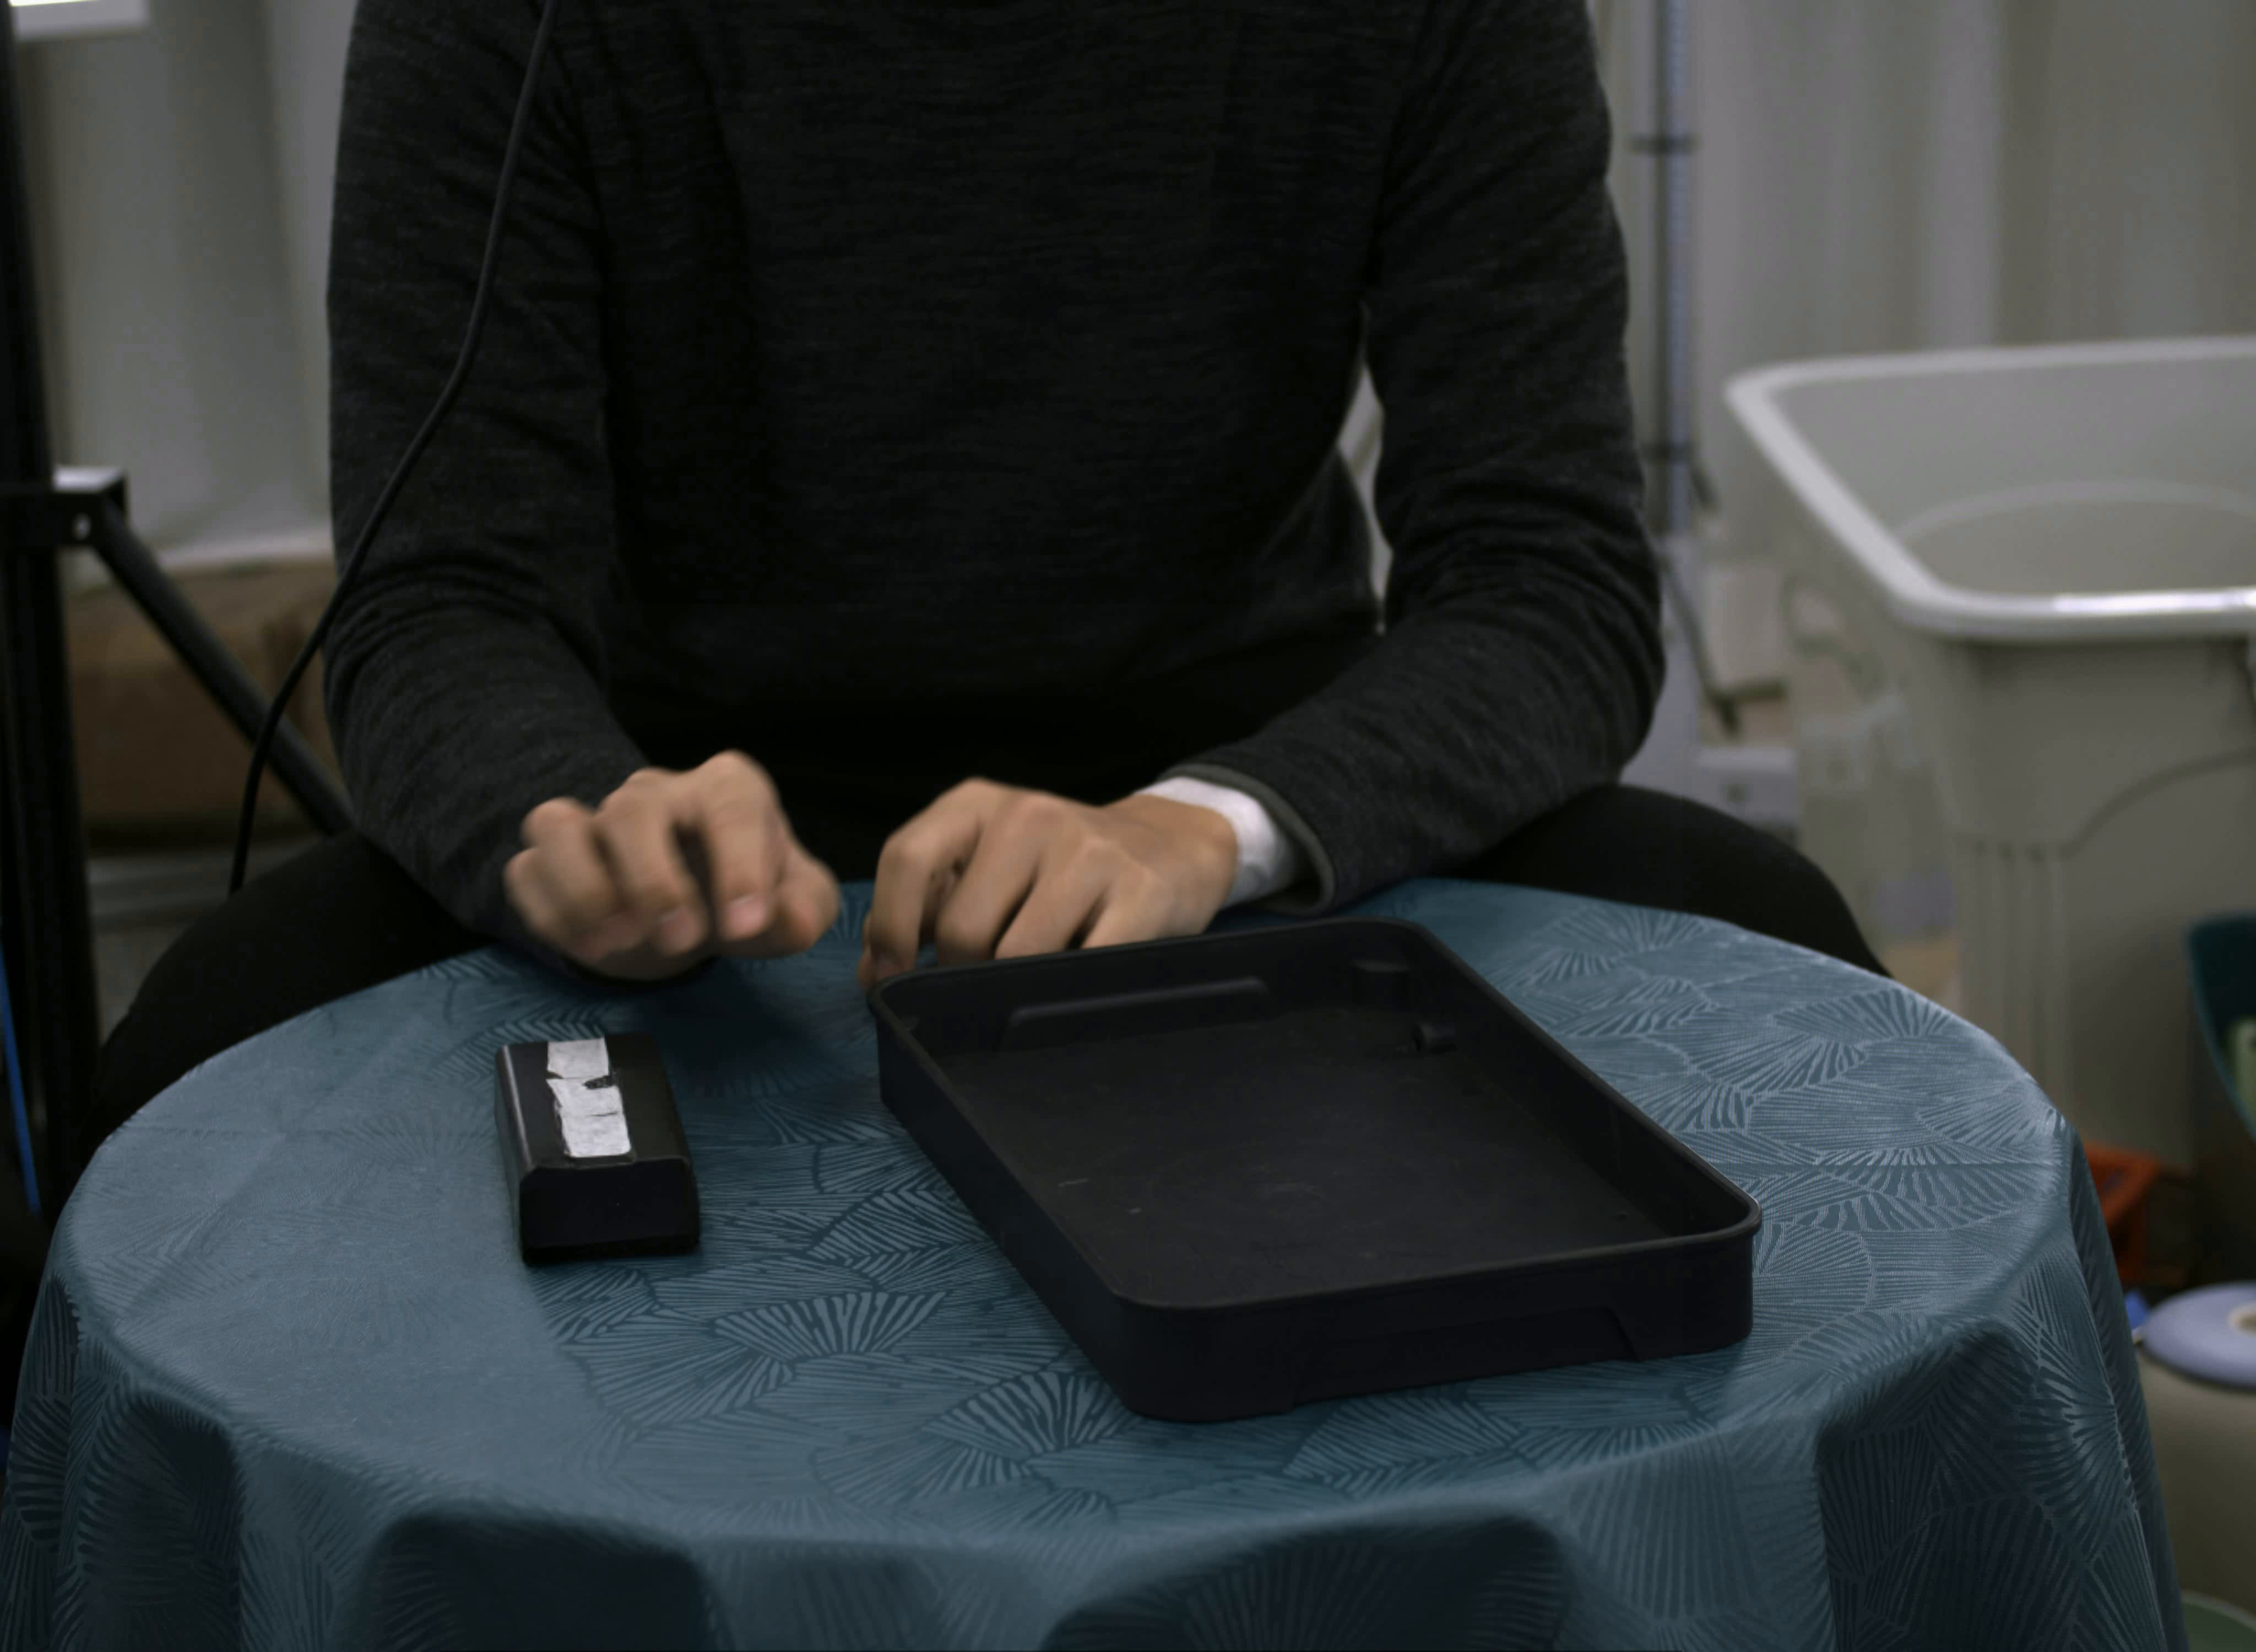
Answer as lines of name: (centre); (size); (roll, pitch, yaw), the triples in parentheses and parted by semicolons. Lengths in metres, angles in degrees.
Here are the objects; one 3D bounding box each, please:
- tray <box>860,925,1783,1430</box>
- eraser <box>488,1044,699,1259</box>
tray: (0.047, 0.095, 1.533); (0.181, 0.037, 0.323); (-7, 16, -16)
eraser: (-0.158, 0.096, 1.577); (0.053, 0.030, 0.127); (-3, 14, -10)
